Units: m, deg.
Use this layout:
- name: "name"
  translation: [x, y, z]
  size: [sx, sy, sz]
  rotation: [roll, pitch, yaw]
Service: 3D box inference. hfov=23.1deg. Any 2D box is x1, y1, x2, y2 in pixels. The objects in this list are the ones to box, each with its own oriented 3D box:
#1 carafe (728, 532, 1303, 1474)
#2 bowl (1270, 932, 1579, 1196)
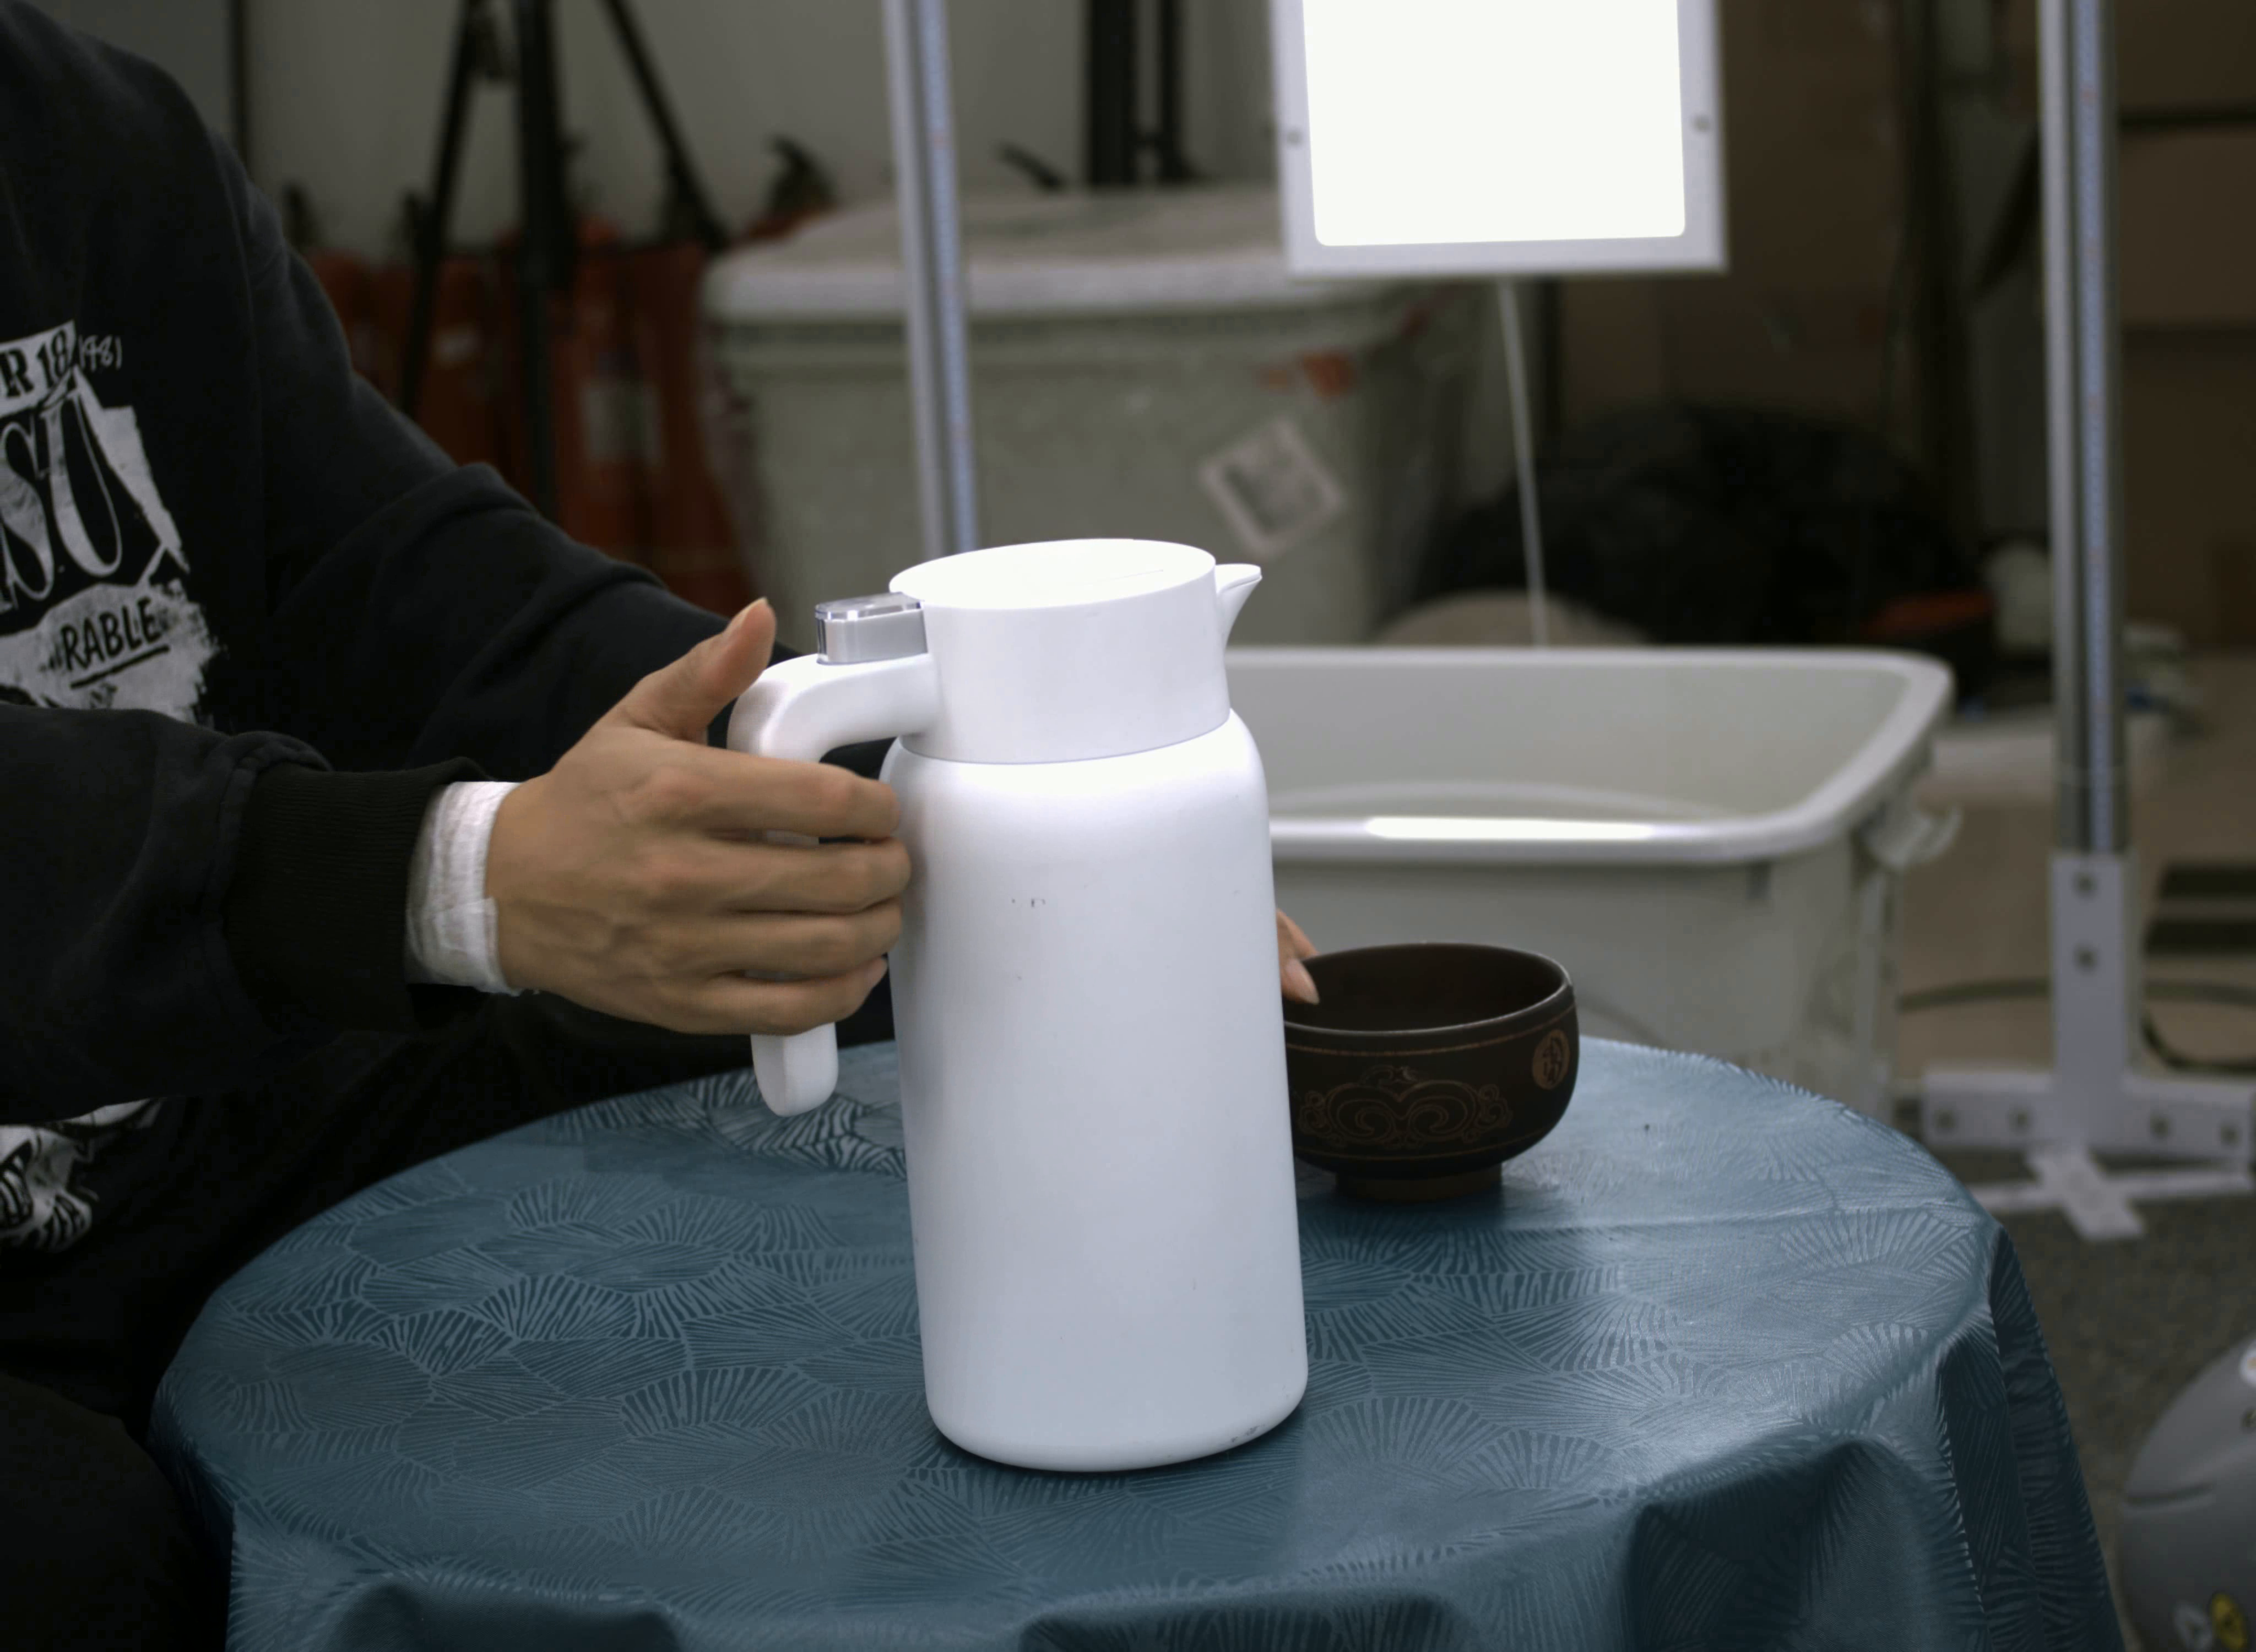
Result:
- name: "carafe"
  translation: [-0.028, 0.055, 1.641]
  size: [0.169, 0.270, 0.126]
  rotation: [-11, 17, -24]
- name: "bowl"
  translation: [0.097, 0.085, 1.877]
  size: [0.118, 0.070, 0.118]
  rotation: [-6, 14, 0]
